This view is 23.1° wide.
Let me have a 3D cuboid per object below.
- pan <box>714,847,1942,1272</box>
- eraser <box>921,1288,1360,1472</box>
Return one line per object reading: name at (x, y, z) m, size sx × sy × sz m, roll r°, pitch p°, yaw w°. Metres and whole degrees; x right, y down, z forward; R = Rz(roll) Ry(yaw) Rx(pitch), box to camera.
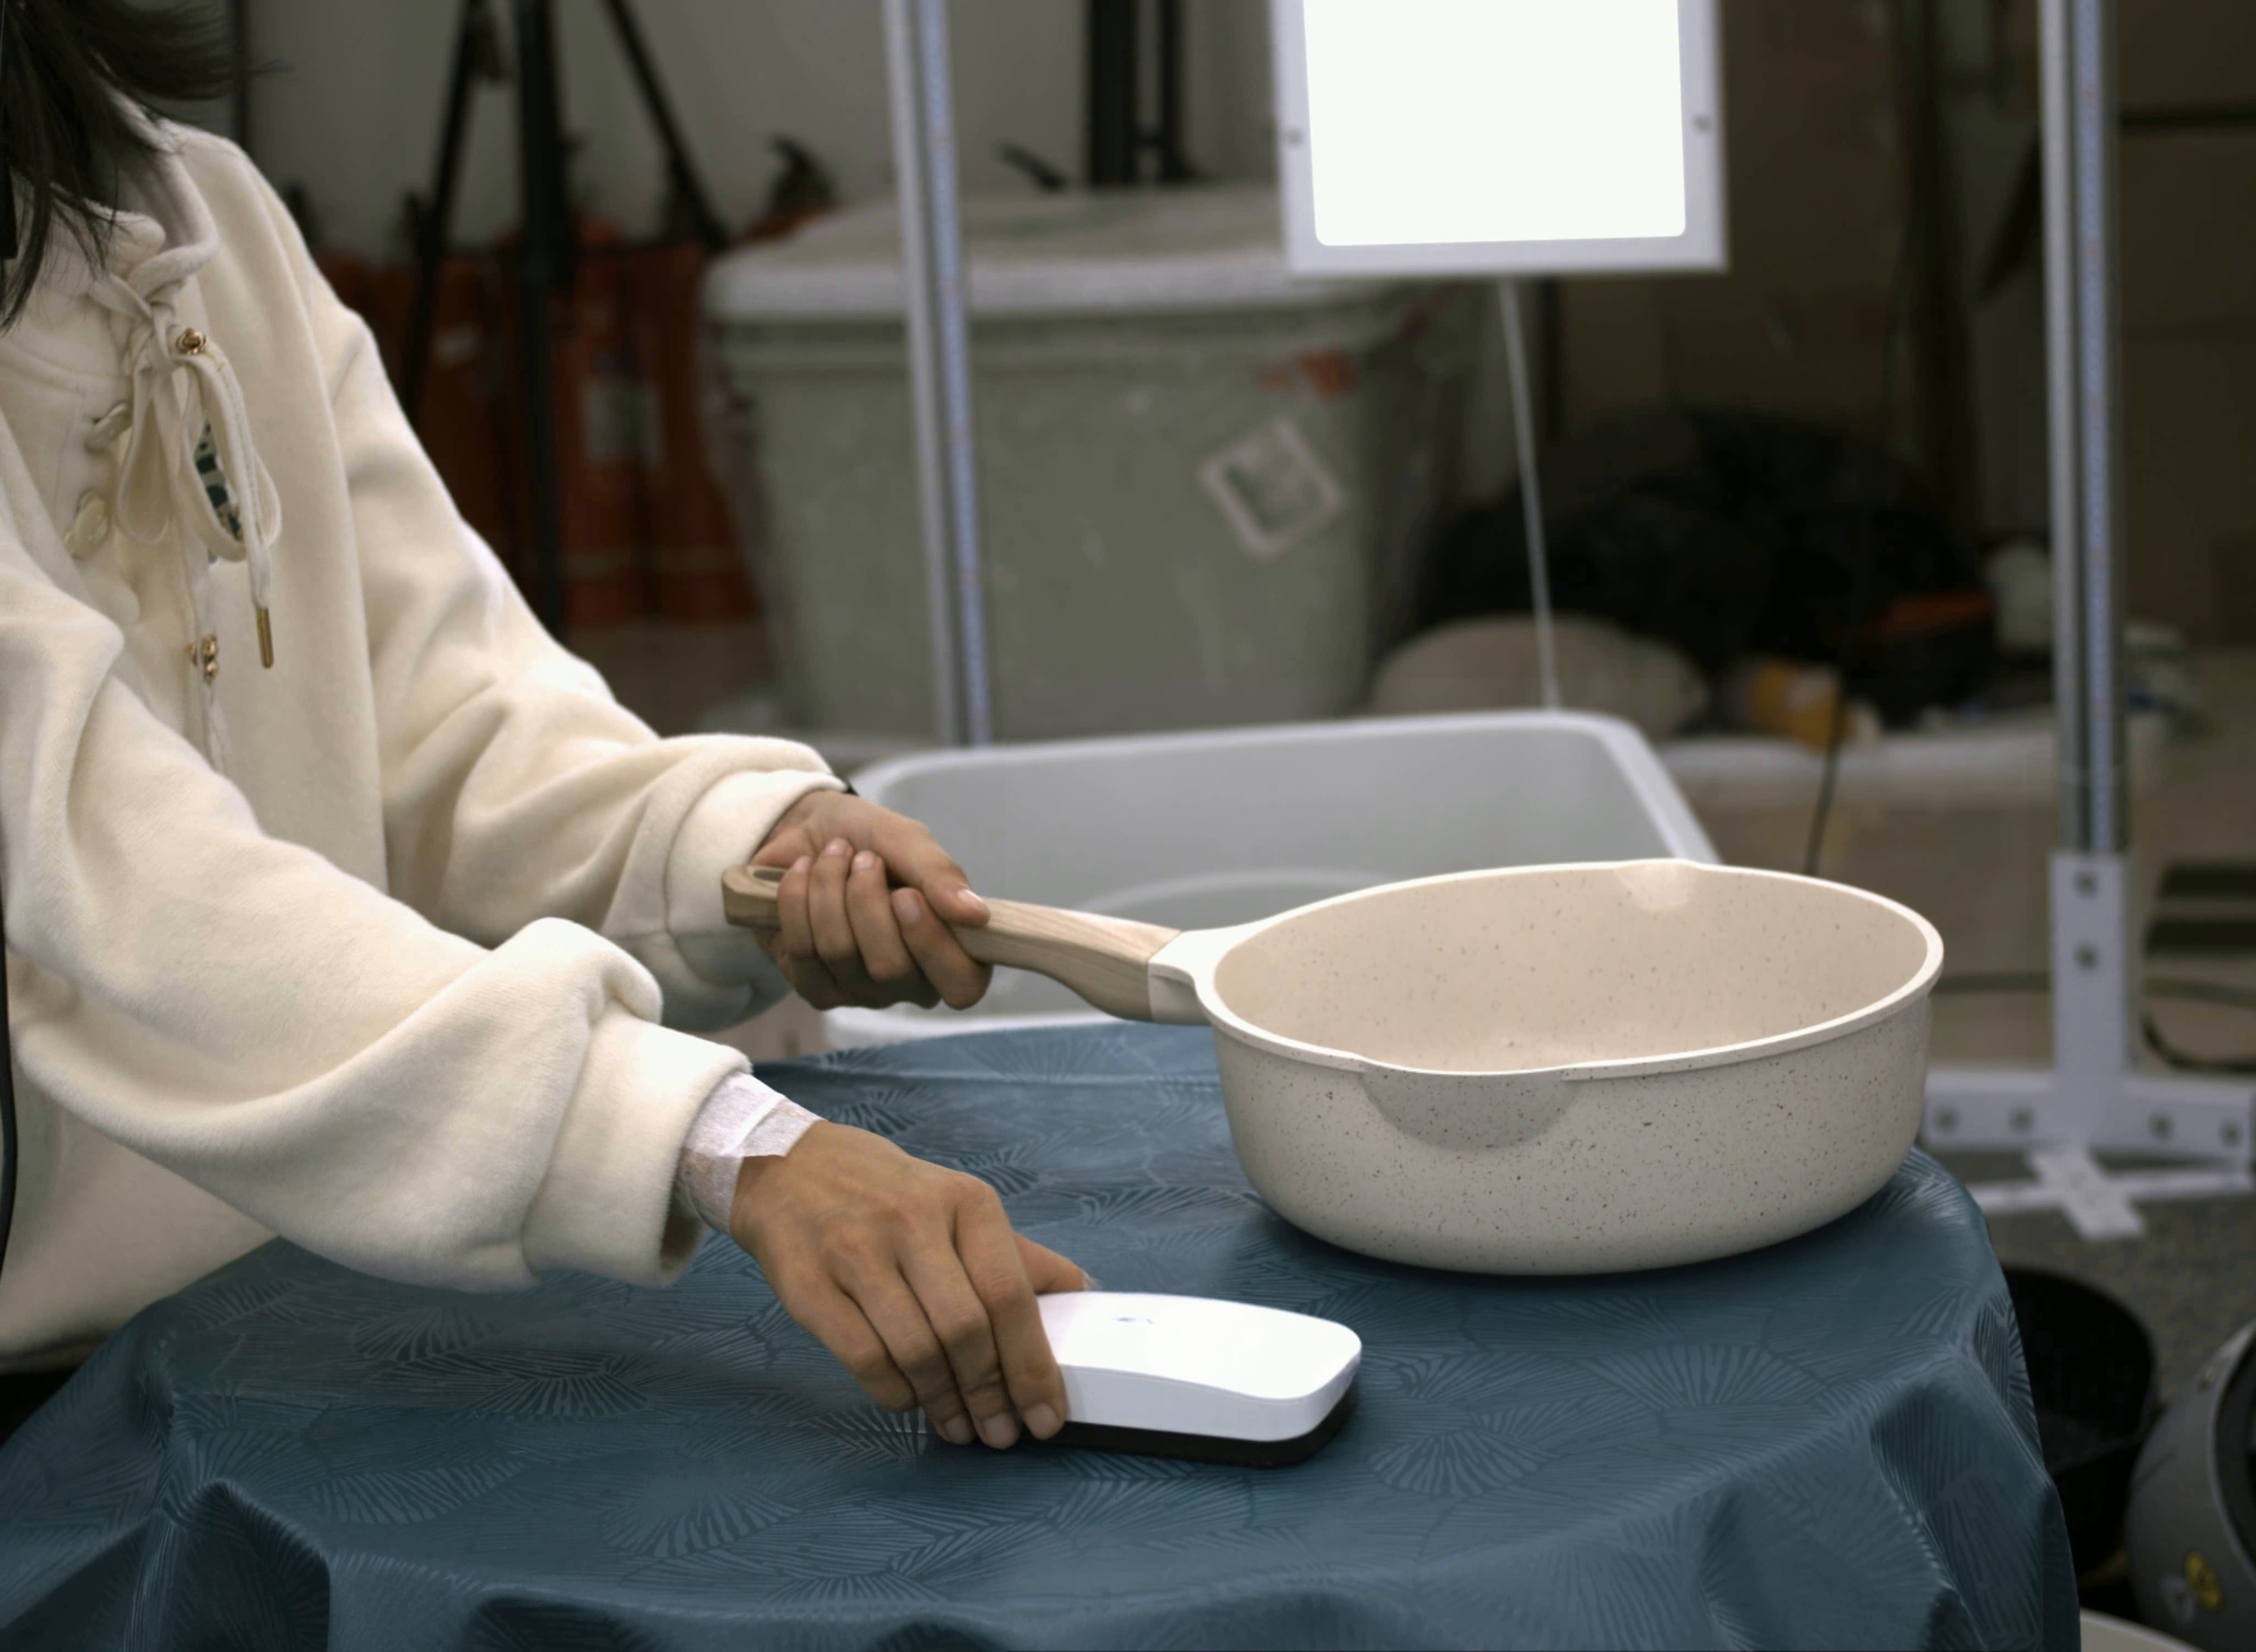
pan at (0.064, 0.071, 1.884) m, size 0.441 × 0.102 × 0.258 m, roll 1°, pitch 16°, yaw 22°
eraser at (0.005, 0.167, 1.667) m, size 0.133 × 0.034 × 0.062 m, roll 3°, pitch 14°, yaw 28°
